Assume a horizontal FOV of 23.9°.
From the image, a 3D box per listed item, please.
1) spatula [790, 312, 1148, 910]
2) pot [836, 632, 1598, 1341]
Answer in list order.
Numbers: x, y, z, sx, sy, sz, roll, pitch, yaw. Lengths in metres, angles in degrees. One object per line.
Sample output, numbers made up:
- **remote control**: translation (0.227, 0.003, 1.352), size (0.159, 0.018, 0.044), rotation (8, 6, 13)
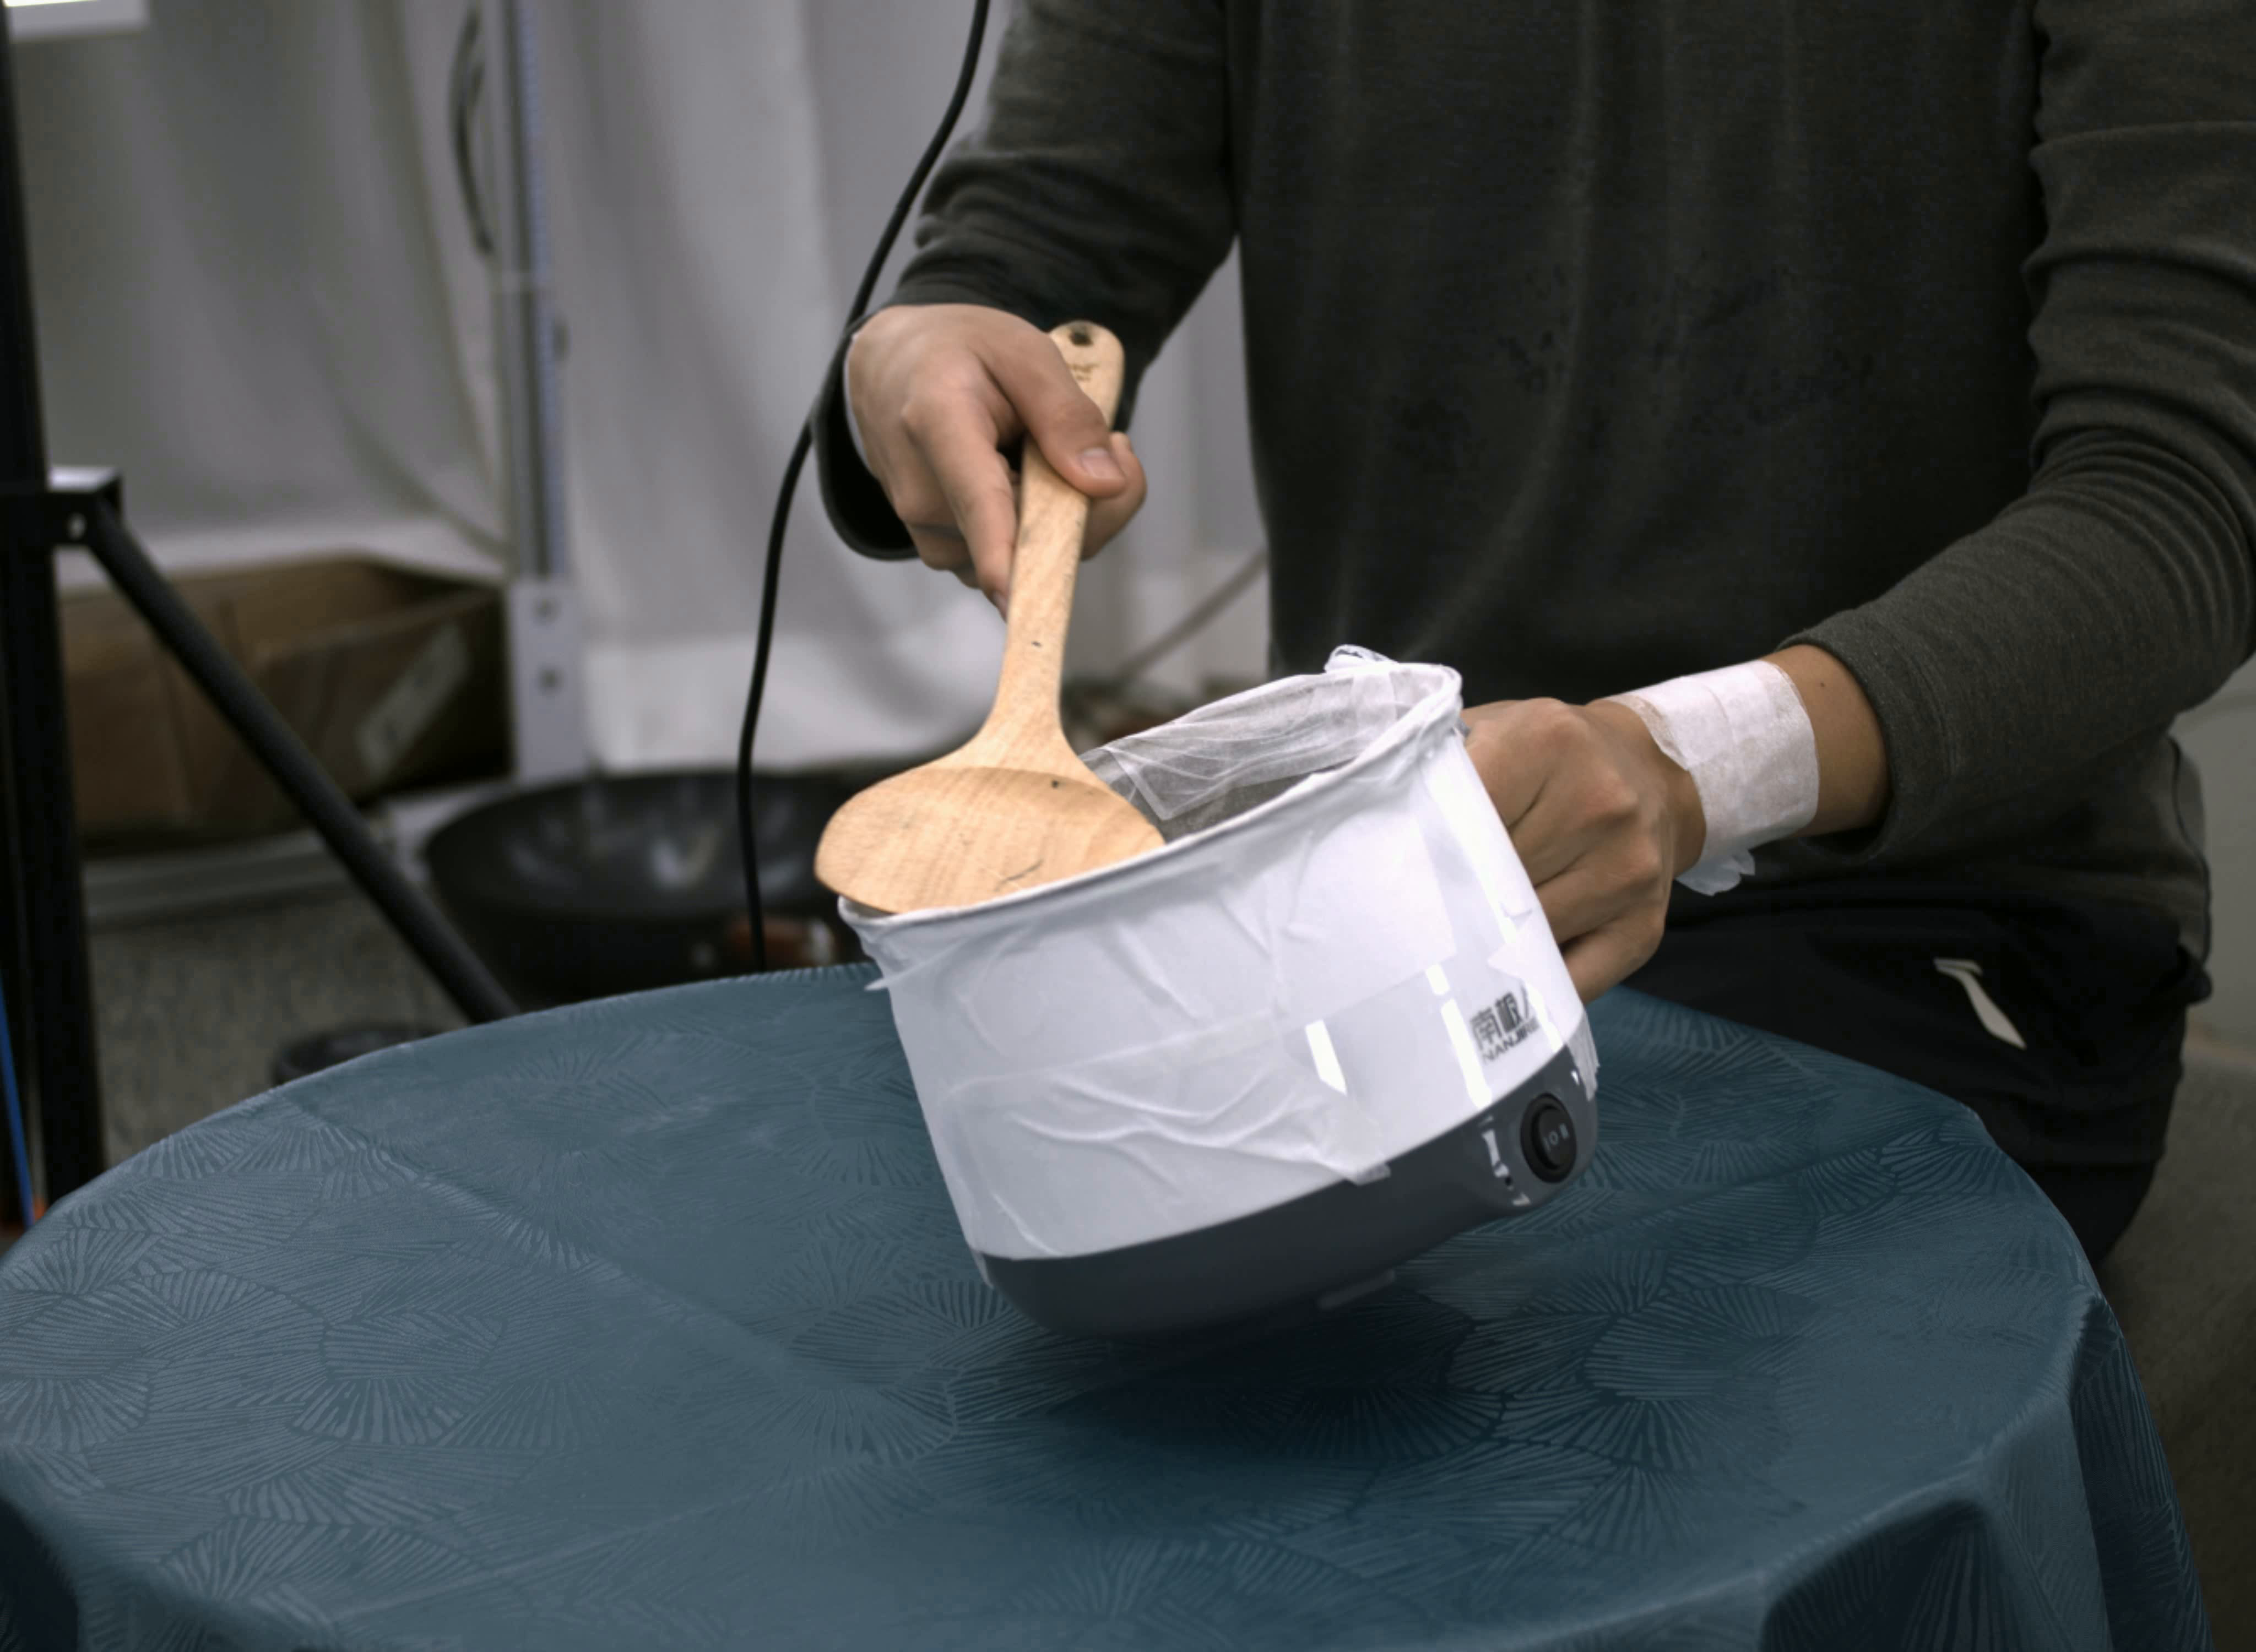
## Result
- **spatula**: translation (-0.032, -0.068, 1.539), size (0.095, 0.018, 0.393), rotation (7, 30, 0)
- **pot**: translation (0.042, 0.037, 1.432), size (0.182, 0.136, 0.230), rotation (-10, 15, 39)
